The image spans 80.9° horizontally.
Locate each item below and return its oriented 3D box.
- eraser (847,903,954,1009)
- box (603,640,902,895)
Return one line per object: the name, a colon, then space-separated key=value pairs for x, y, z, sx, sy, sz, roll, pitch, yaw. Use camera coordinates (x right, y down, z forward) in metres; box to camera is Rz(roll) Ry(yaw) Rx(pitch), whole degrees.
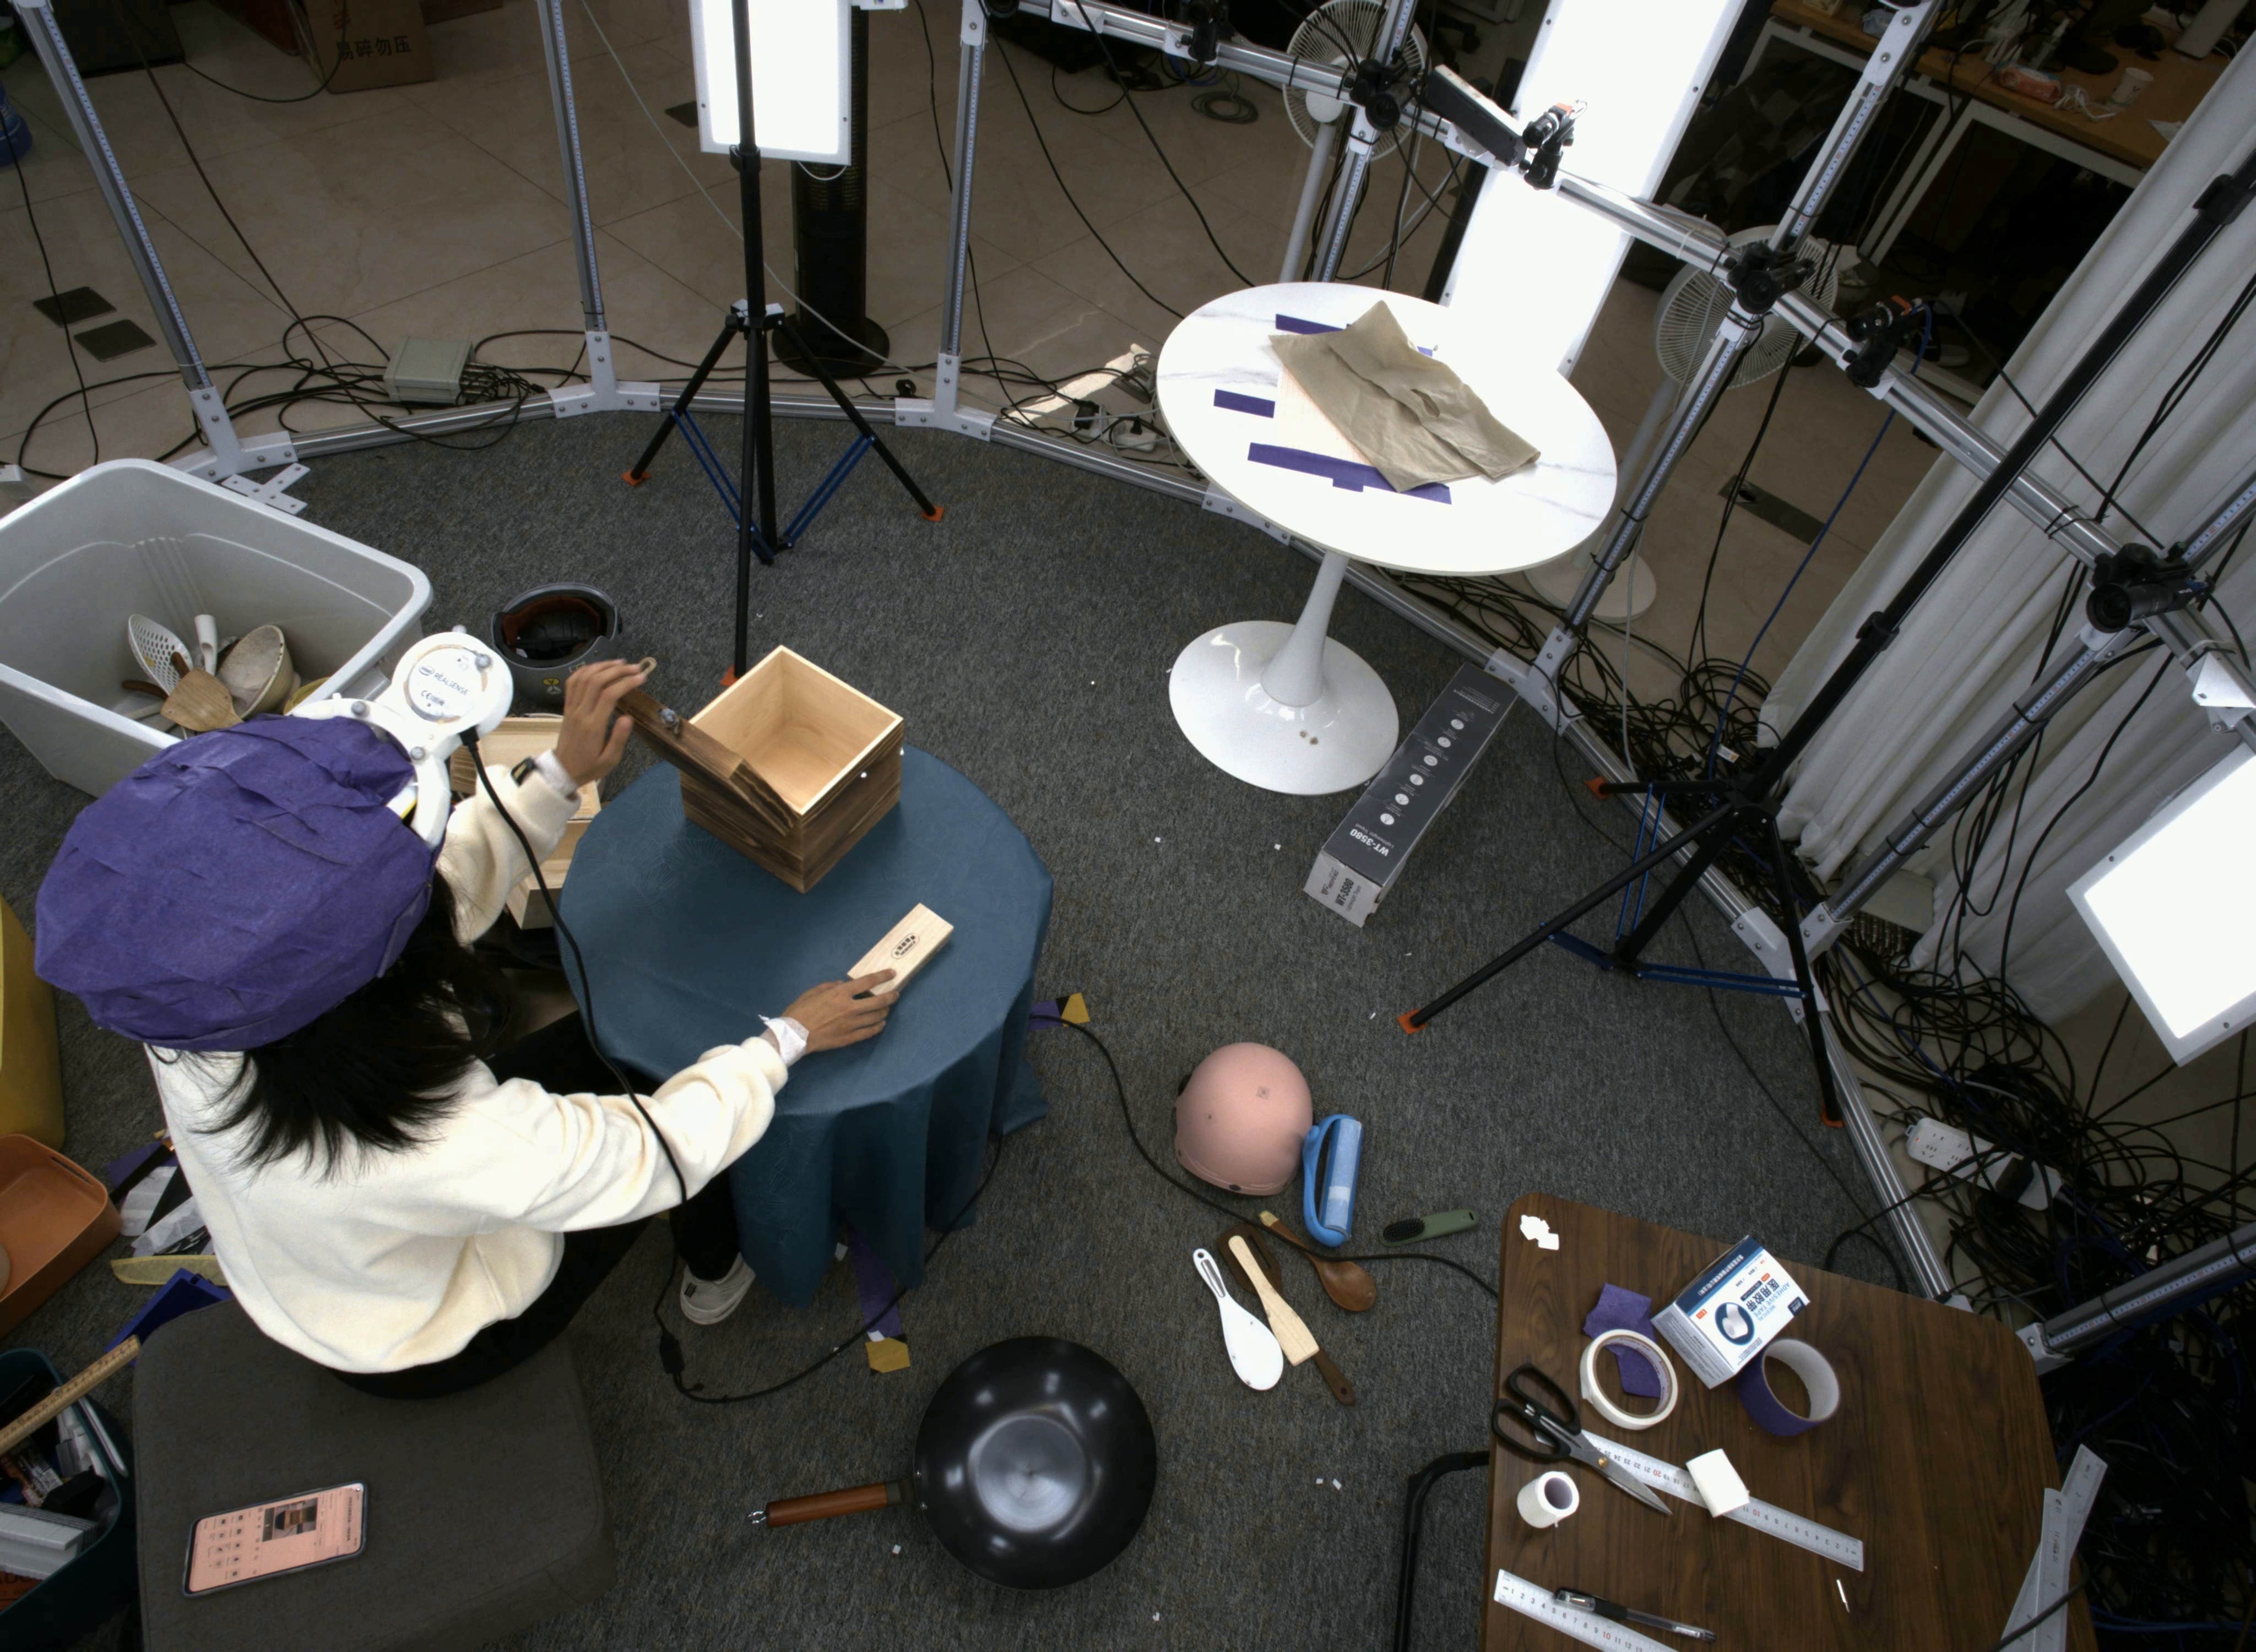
eraser: x=-0.282 y=0.159 z=1.619 sx=0.056 sy=0.029 sz=0.139 roll=36 pitch=54 yaw=10
box: x=-0.442 y=-0.104 z=1.557 sx=0.205 sy=0.383 sz=0.321 roll=30 pitch=52 yaw=10
